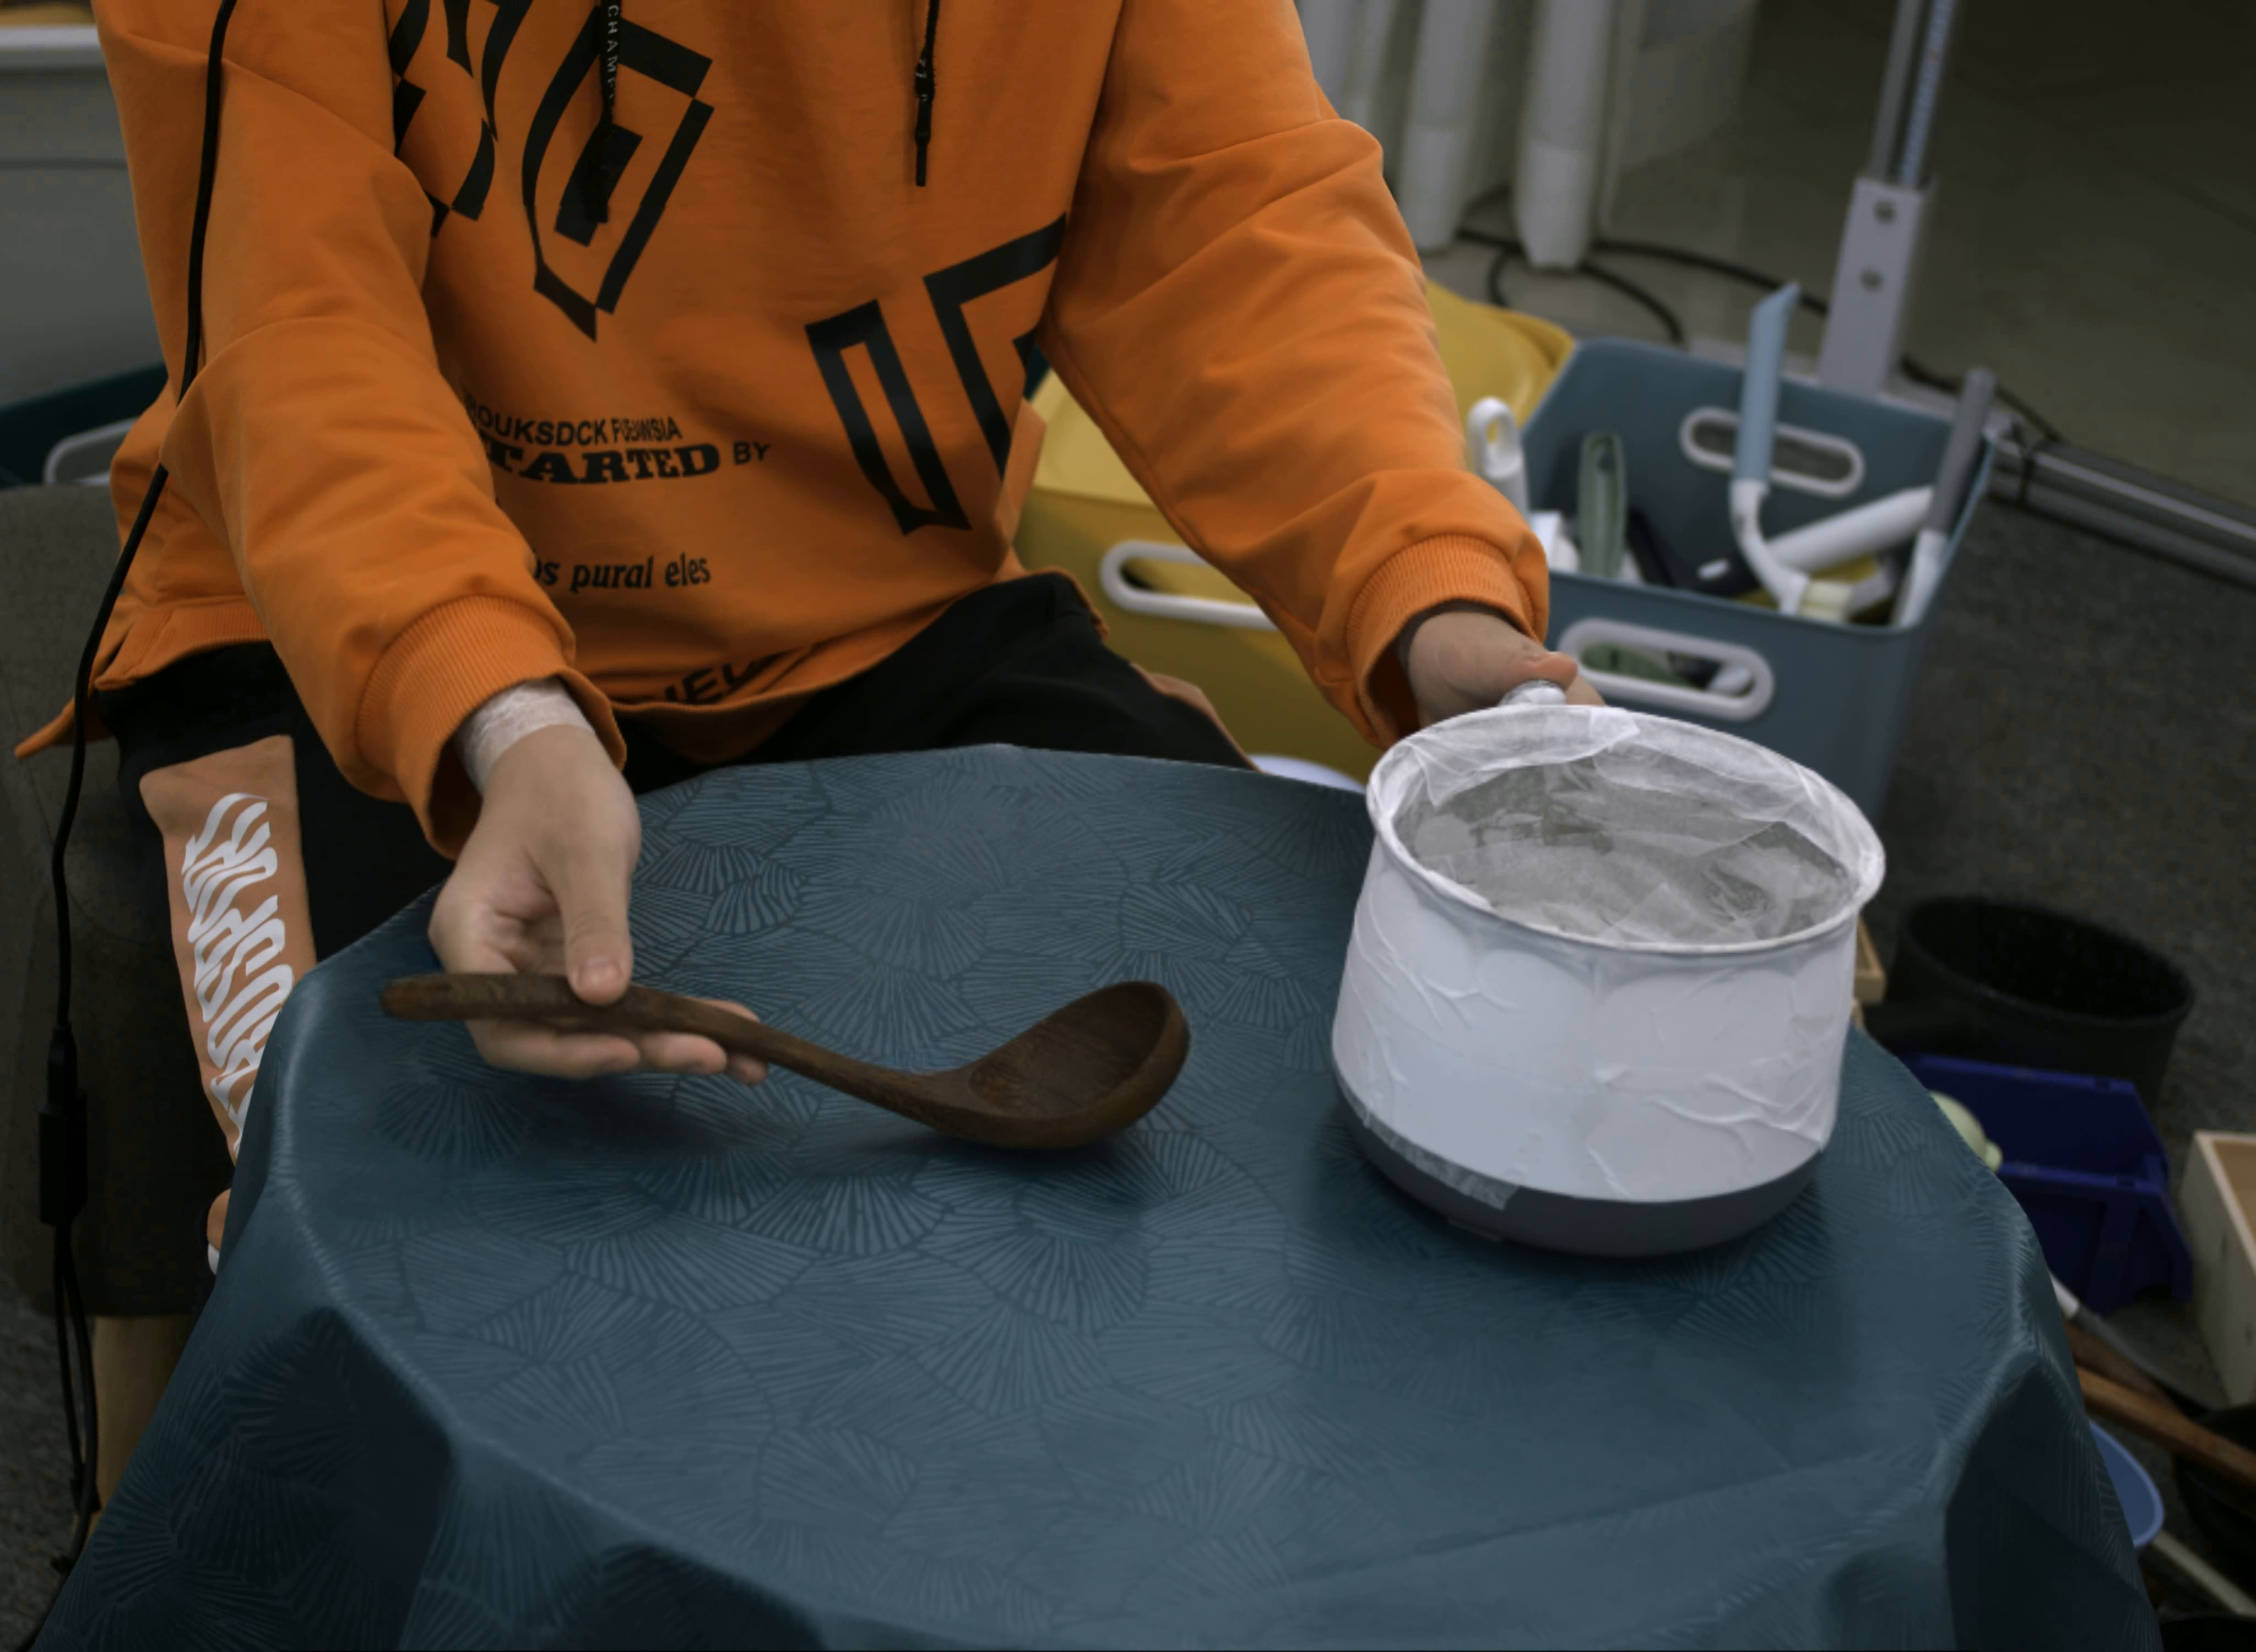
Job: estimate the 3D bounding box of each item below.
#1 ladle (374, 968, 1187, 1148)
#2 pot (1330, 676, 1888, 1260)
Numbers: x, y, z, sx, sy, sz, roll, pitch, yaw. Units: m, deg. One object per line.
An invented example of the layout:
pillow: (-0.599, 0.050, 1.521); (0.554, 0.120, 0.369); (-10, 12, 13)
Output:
ladle: (-0.112, 0.056, 1.784); (0.272, 0.071, 0.076); (14, 12, -20)
pot: (0.154, 0.042, 1.847); (0.177, 0.136, 0.236); (-1, 28, -15)
